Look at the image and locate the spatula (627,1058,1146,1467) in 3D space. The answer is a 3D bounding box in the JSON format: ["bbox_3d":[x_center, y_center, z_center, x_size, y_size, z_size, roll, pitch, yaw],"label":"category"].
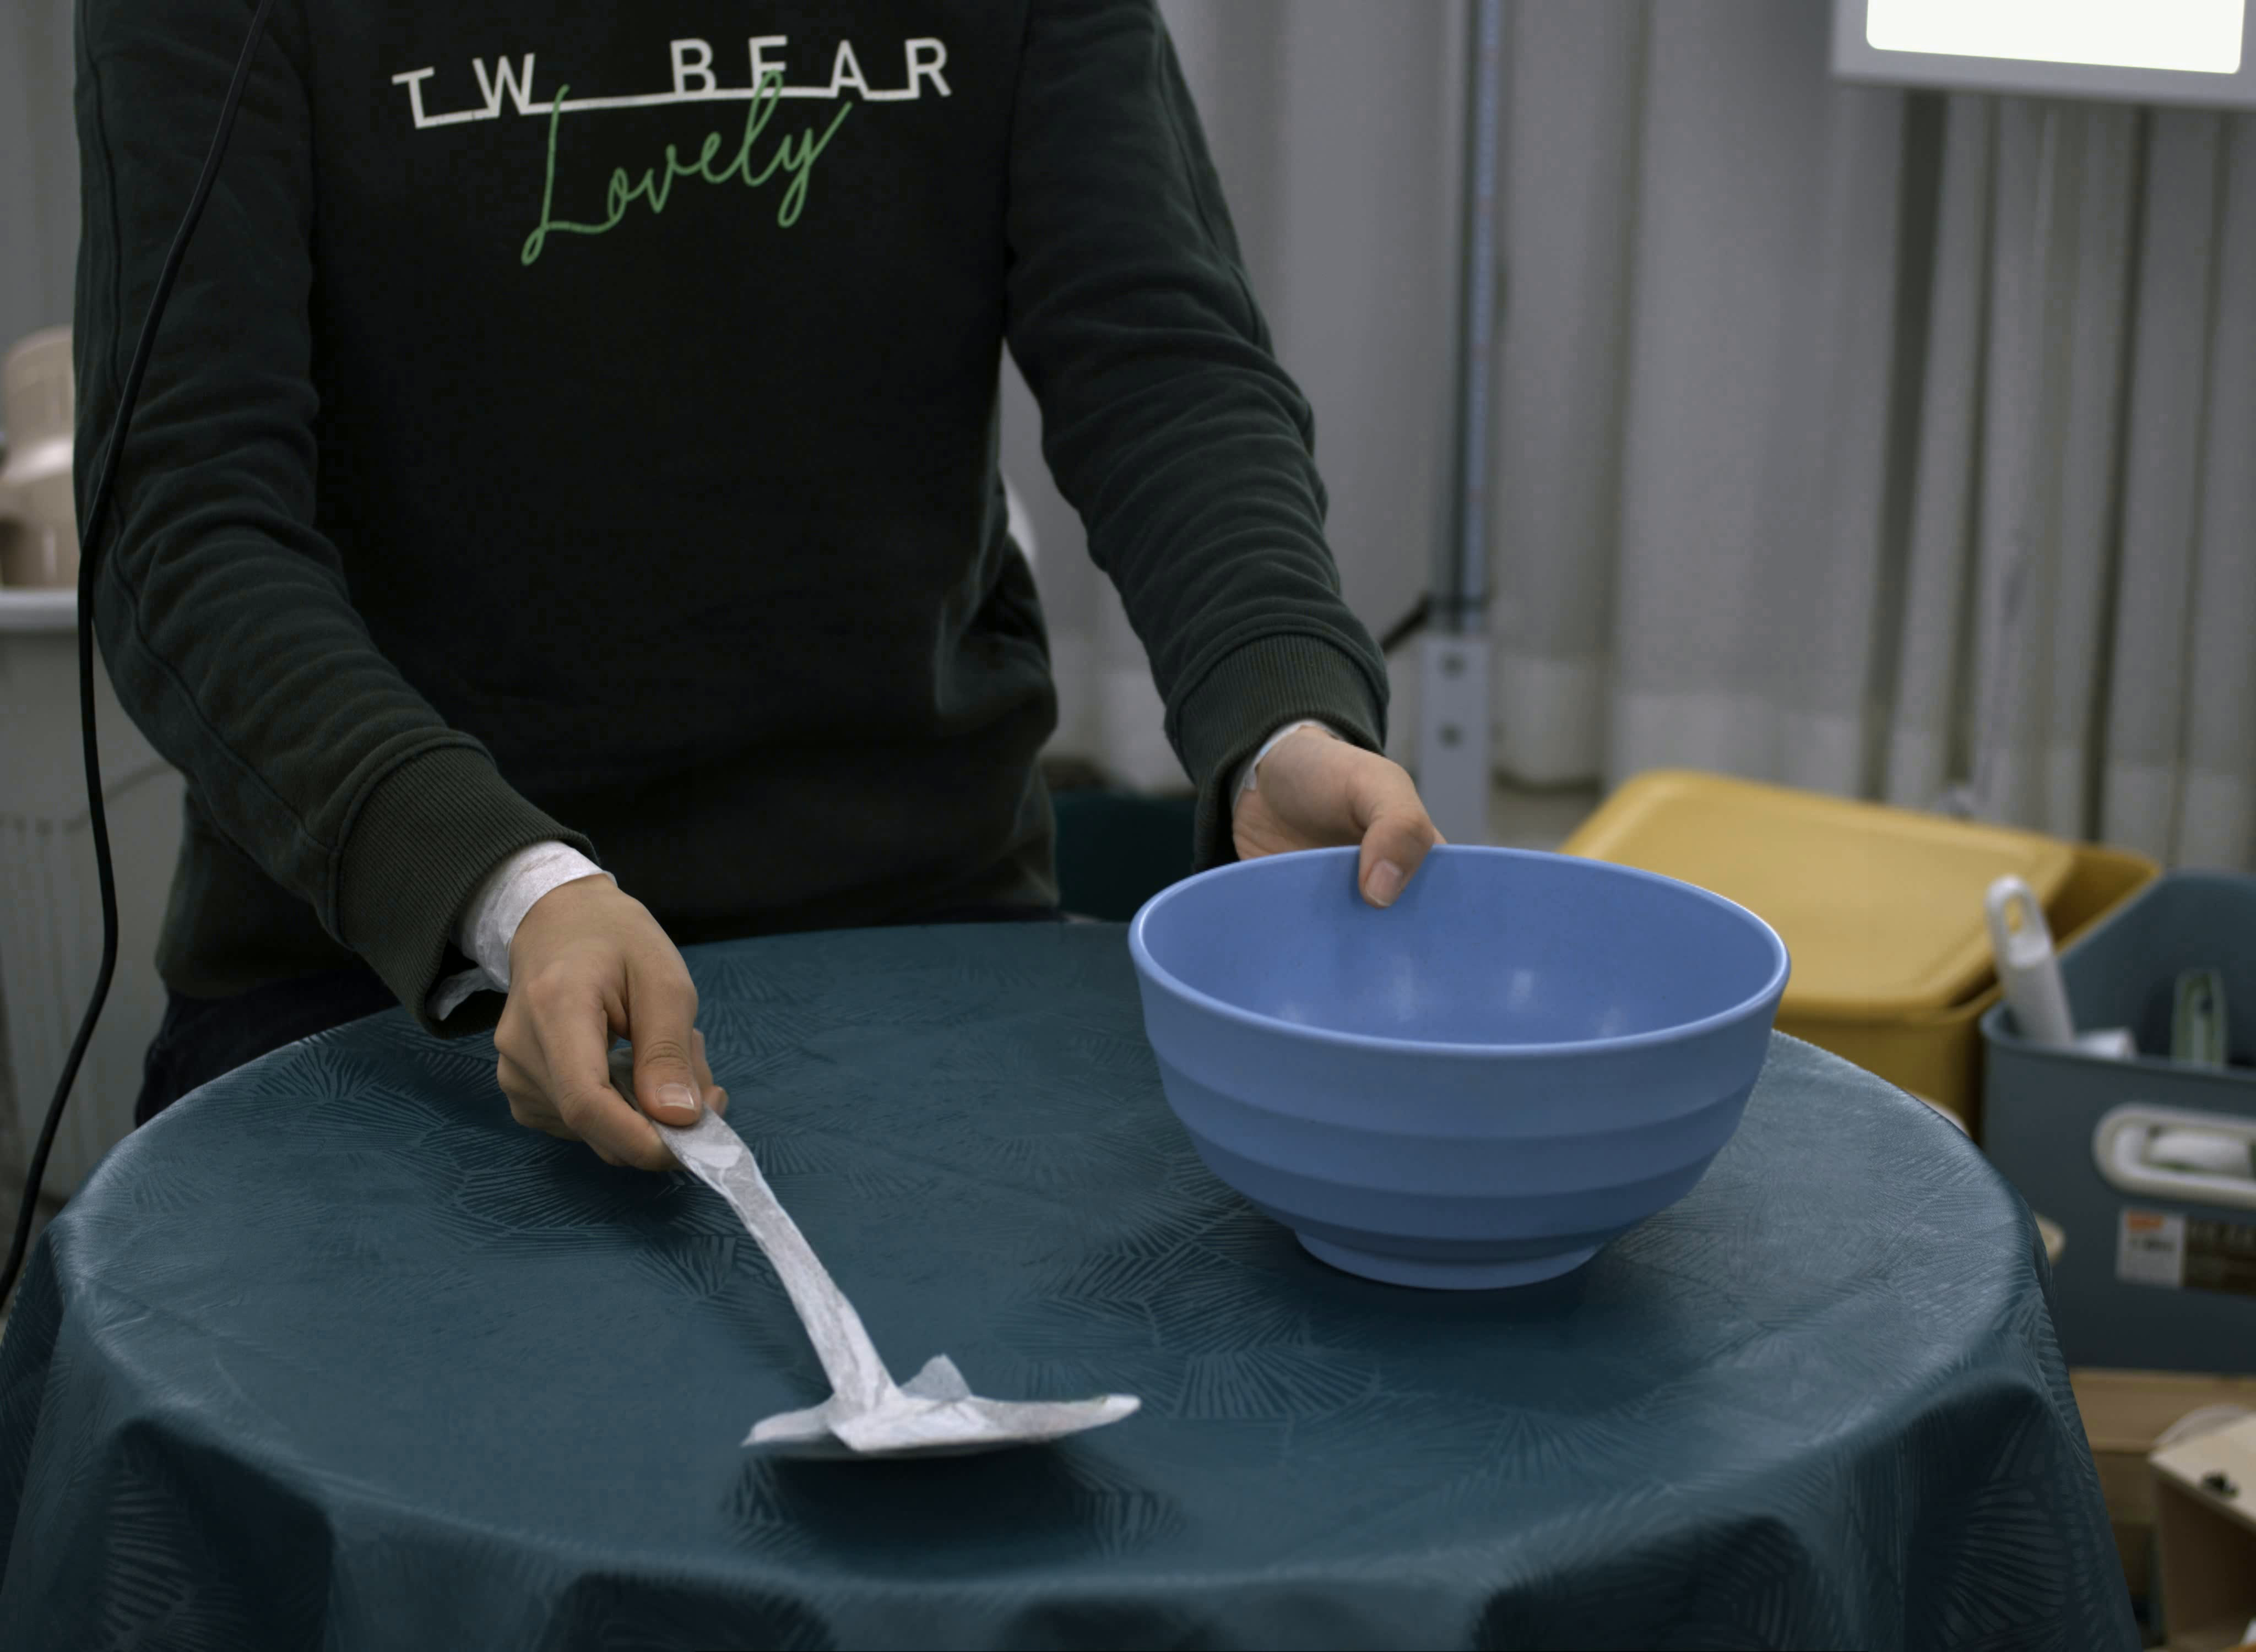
[{"bbox_3d":[-0.095,0.117,1.511,0.099,0.045,0.360,-4,21,-19],"label":"spatula"}]

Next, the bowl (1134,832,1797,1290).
[{"bbox_3d":[0.098,0.077,1.572,0.196,0.096,0.195,3,19,0],"label":"bowl"}]
